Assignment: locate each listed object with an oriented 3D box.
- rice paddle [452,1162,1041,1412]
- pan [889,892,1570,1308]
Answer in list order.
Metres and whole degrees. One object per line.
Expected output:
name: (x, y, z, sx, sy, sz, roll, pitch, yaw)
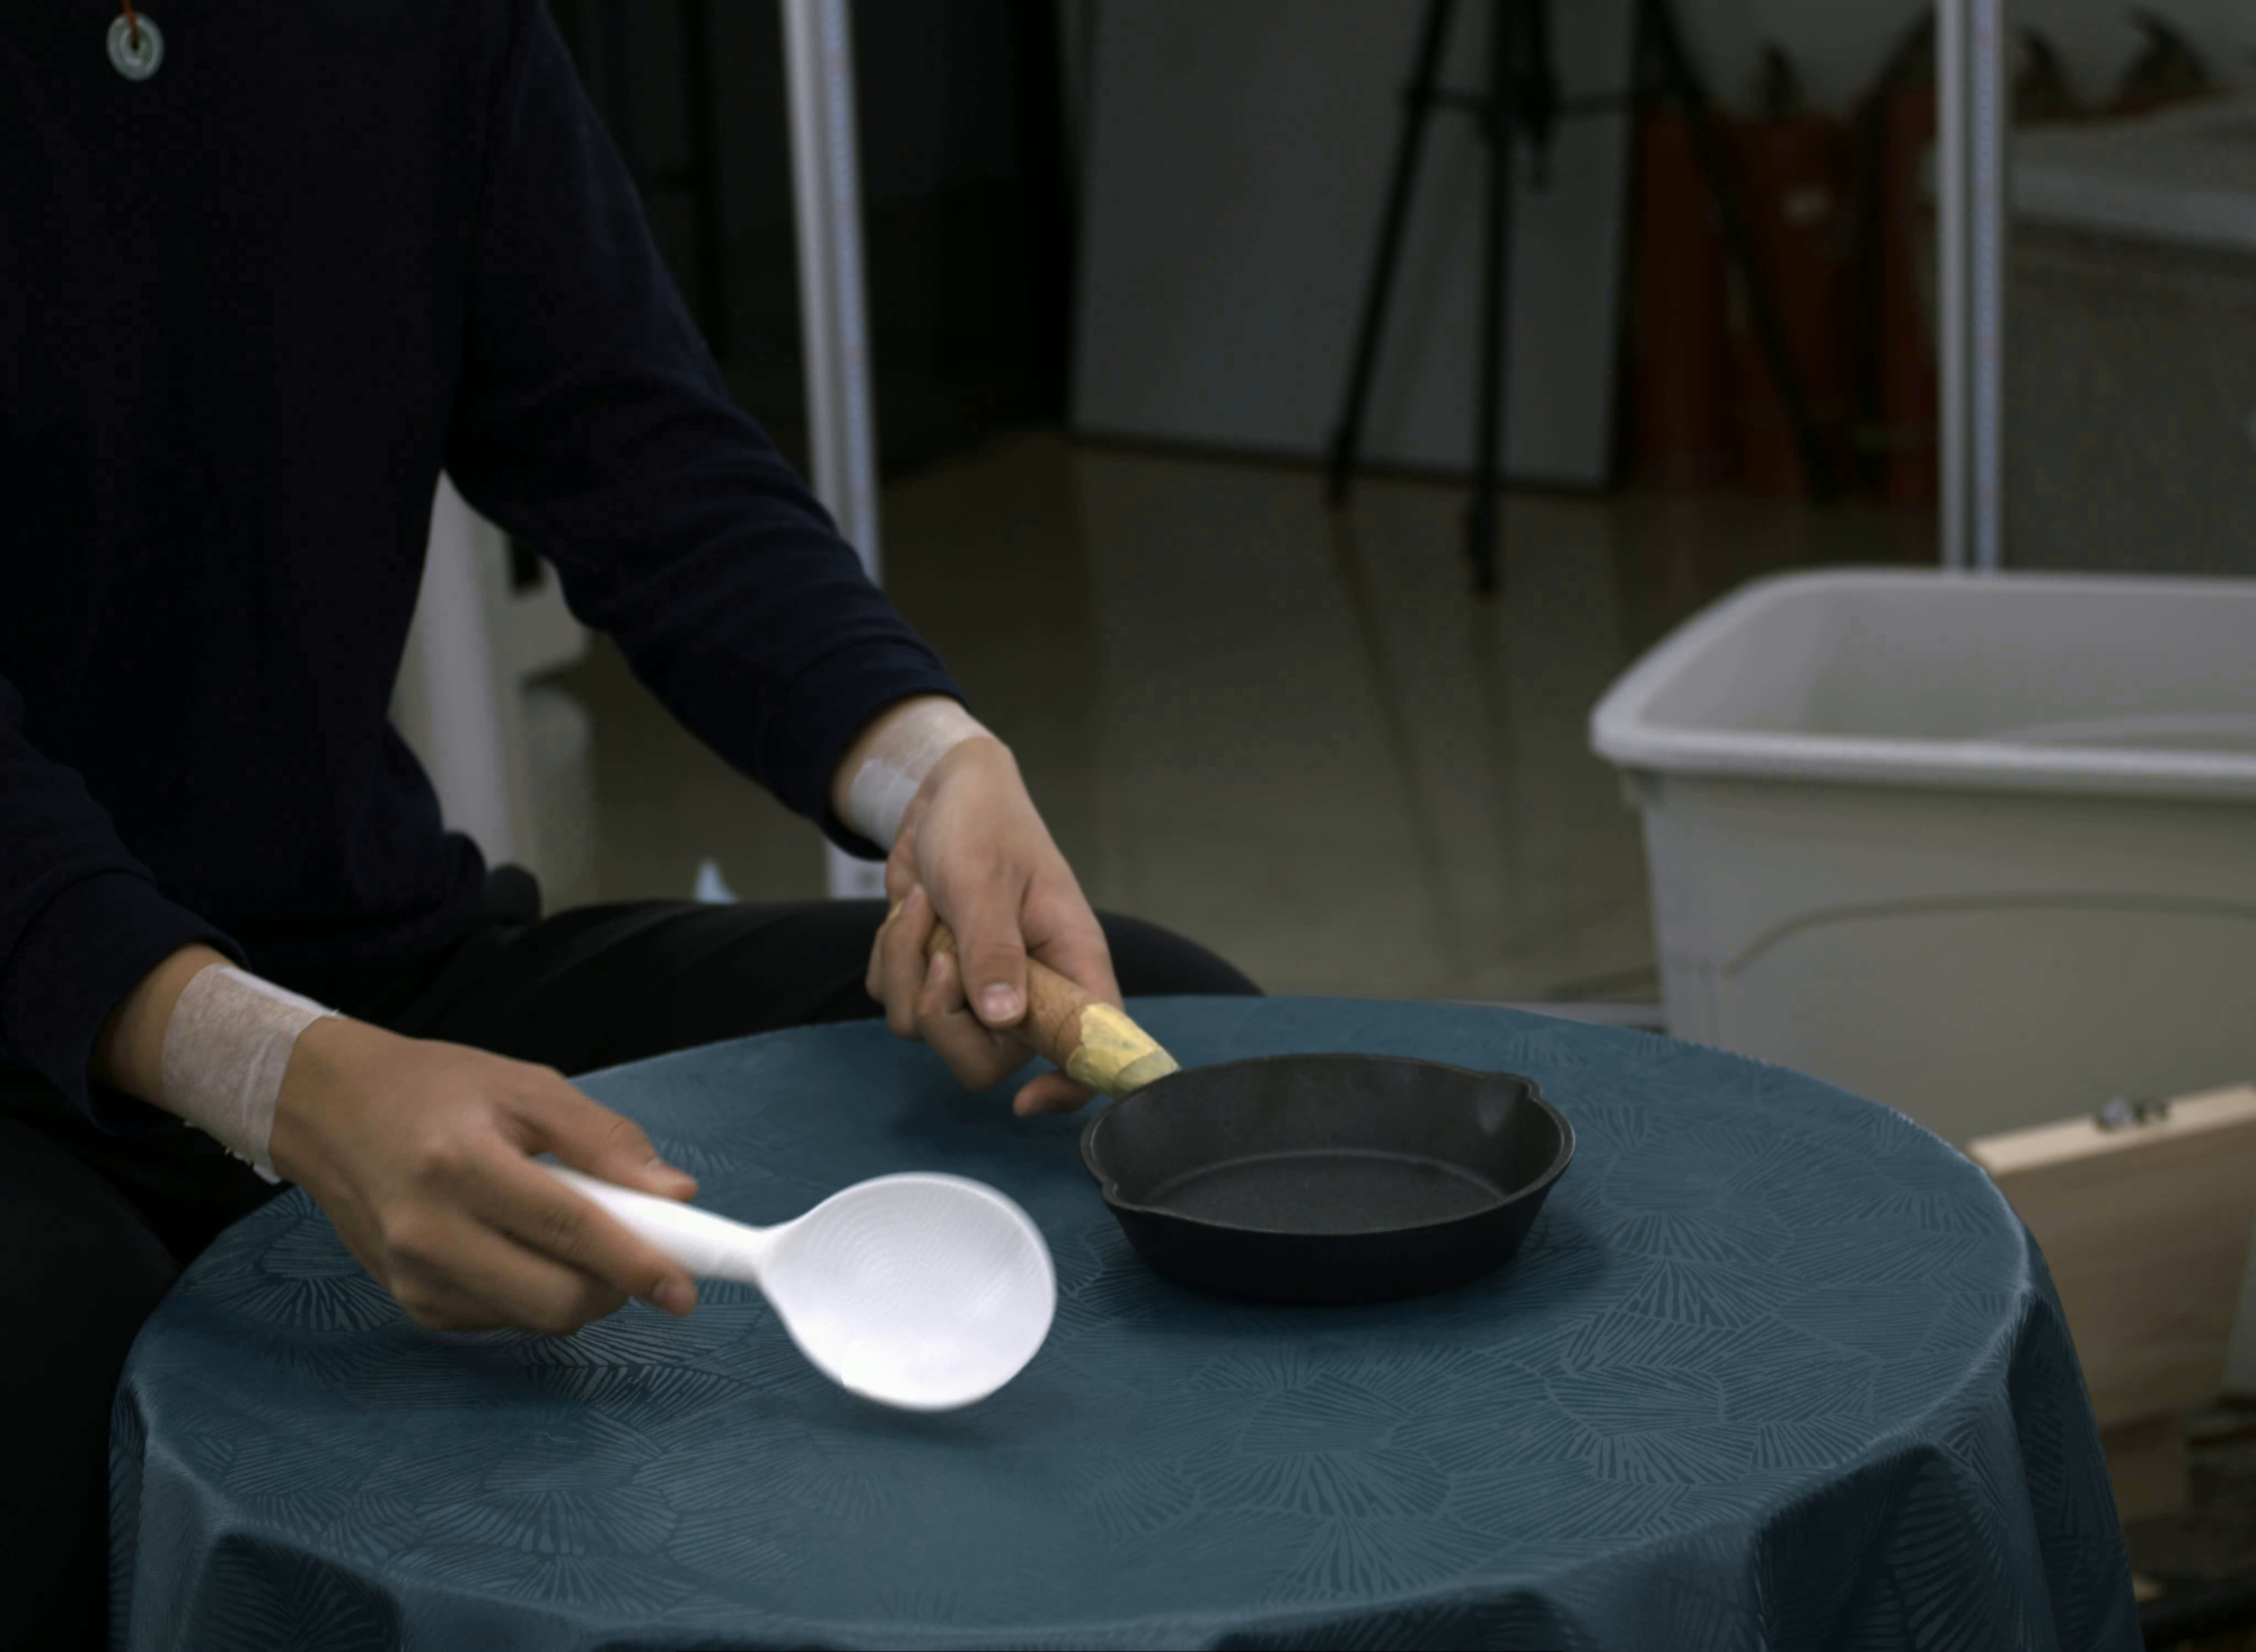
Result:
rice paddle: (-0.112, 0.128, 1.598, 0.206, 0.069, 0.029, 7, -7, 33)
pan: (0.015, 0.085, 1.766, 0.165, 0.050, 0.328, -13, 22, -31)
